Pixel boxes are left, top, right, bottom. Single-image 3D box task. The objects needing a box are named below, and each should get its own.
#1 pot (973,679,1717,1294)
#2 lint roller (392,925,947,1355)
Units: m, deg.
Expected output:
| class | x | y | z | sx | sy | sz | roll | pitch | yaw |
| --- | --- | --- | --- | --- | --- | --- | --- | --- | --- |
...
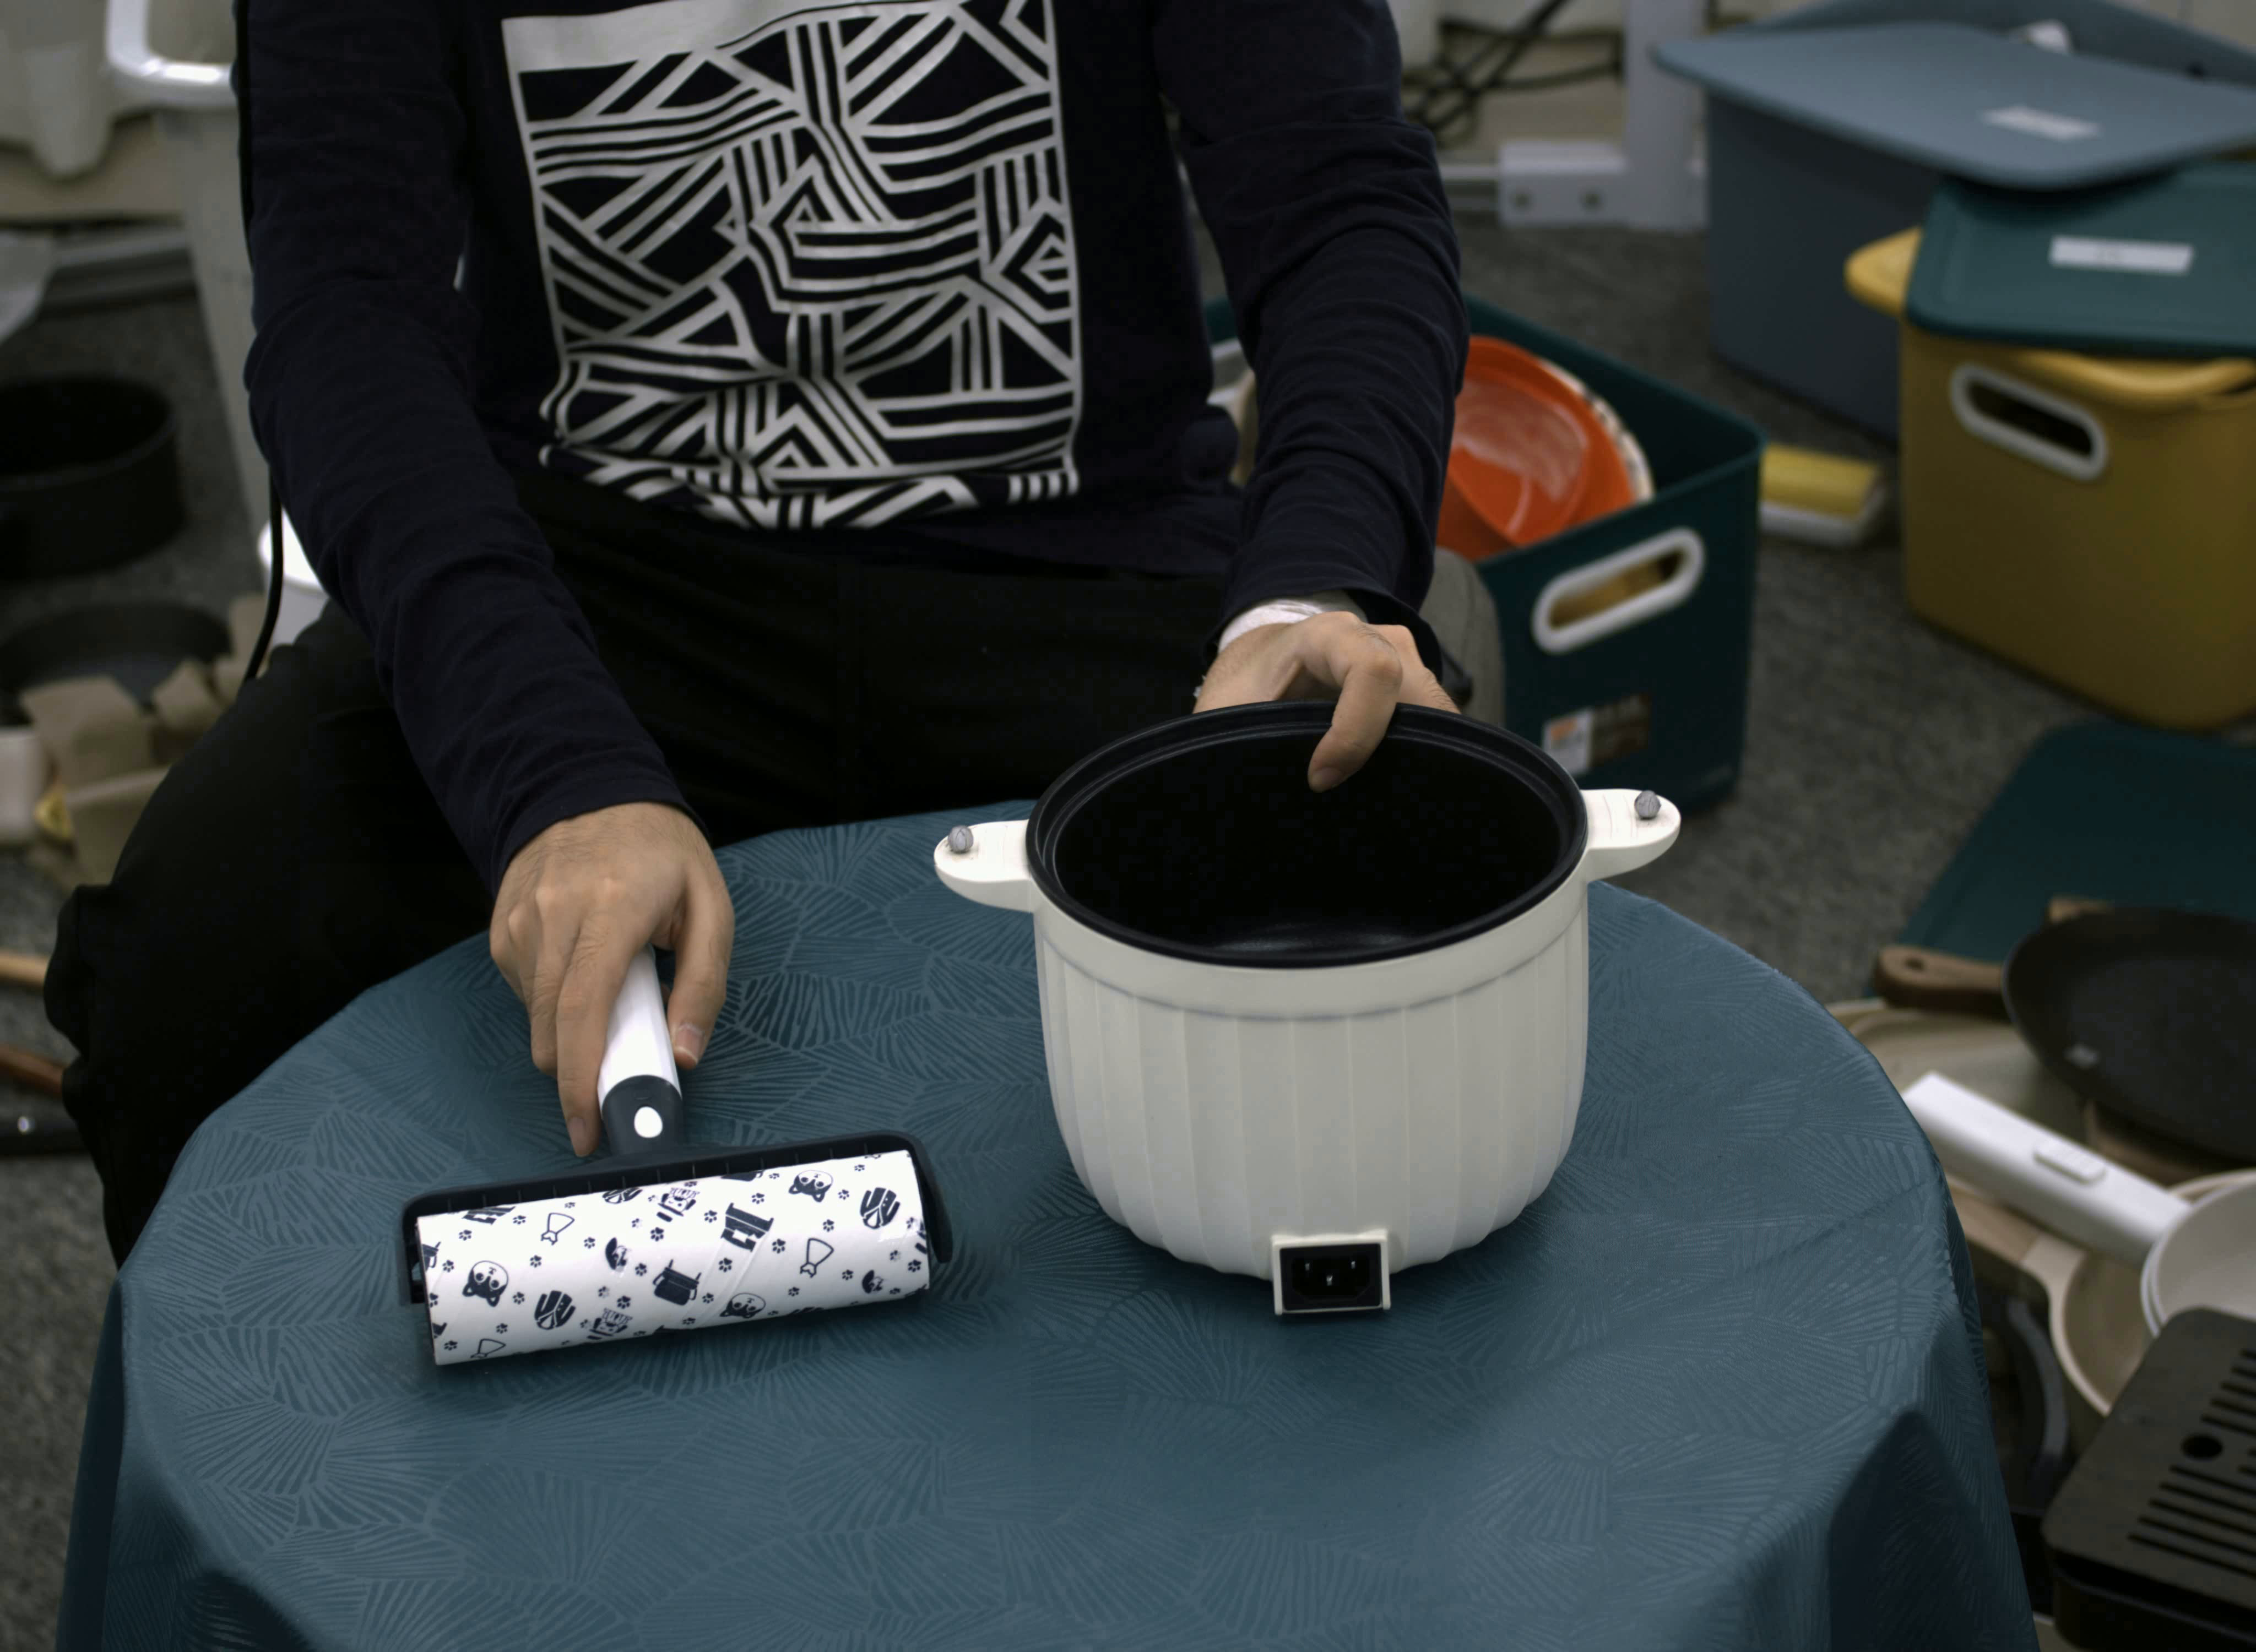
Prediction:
| class | x | y | z | sx | sy | sz | roll | pitch | yaw |
| --- | --- | --- | --- | --- | --- | --- | --- | --- | --- |
| pot | 0.065 | 0.049 | 1.836 | 0.239 | 0.141 | 0.193 | 3 | 28 | -3 |
| lint roller | -0.166 | 0.090 | 1.881 | 0.176 | 0.050 | 0.250 | -8 | 28 | -9 |
